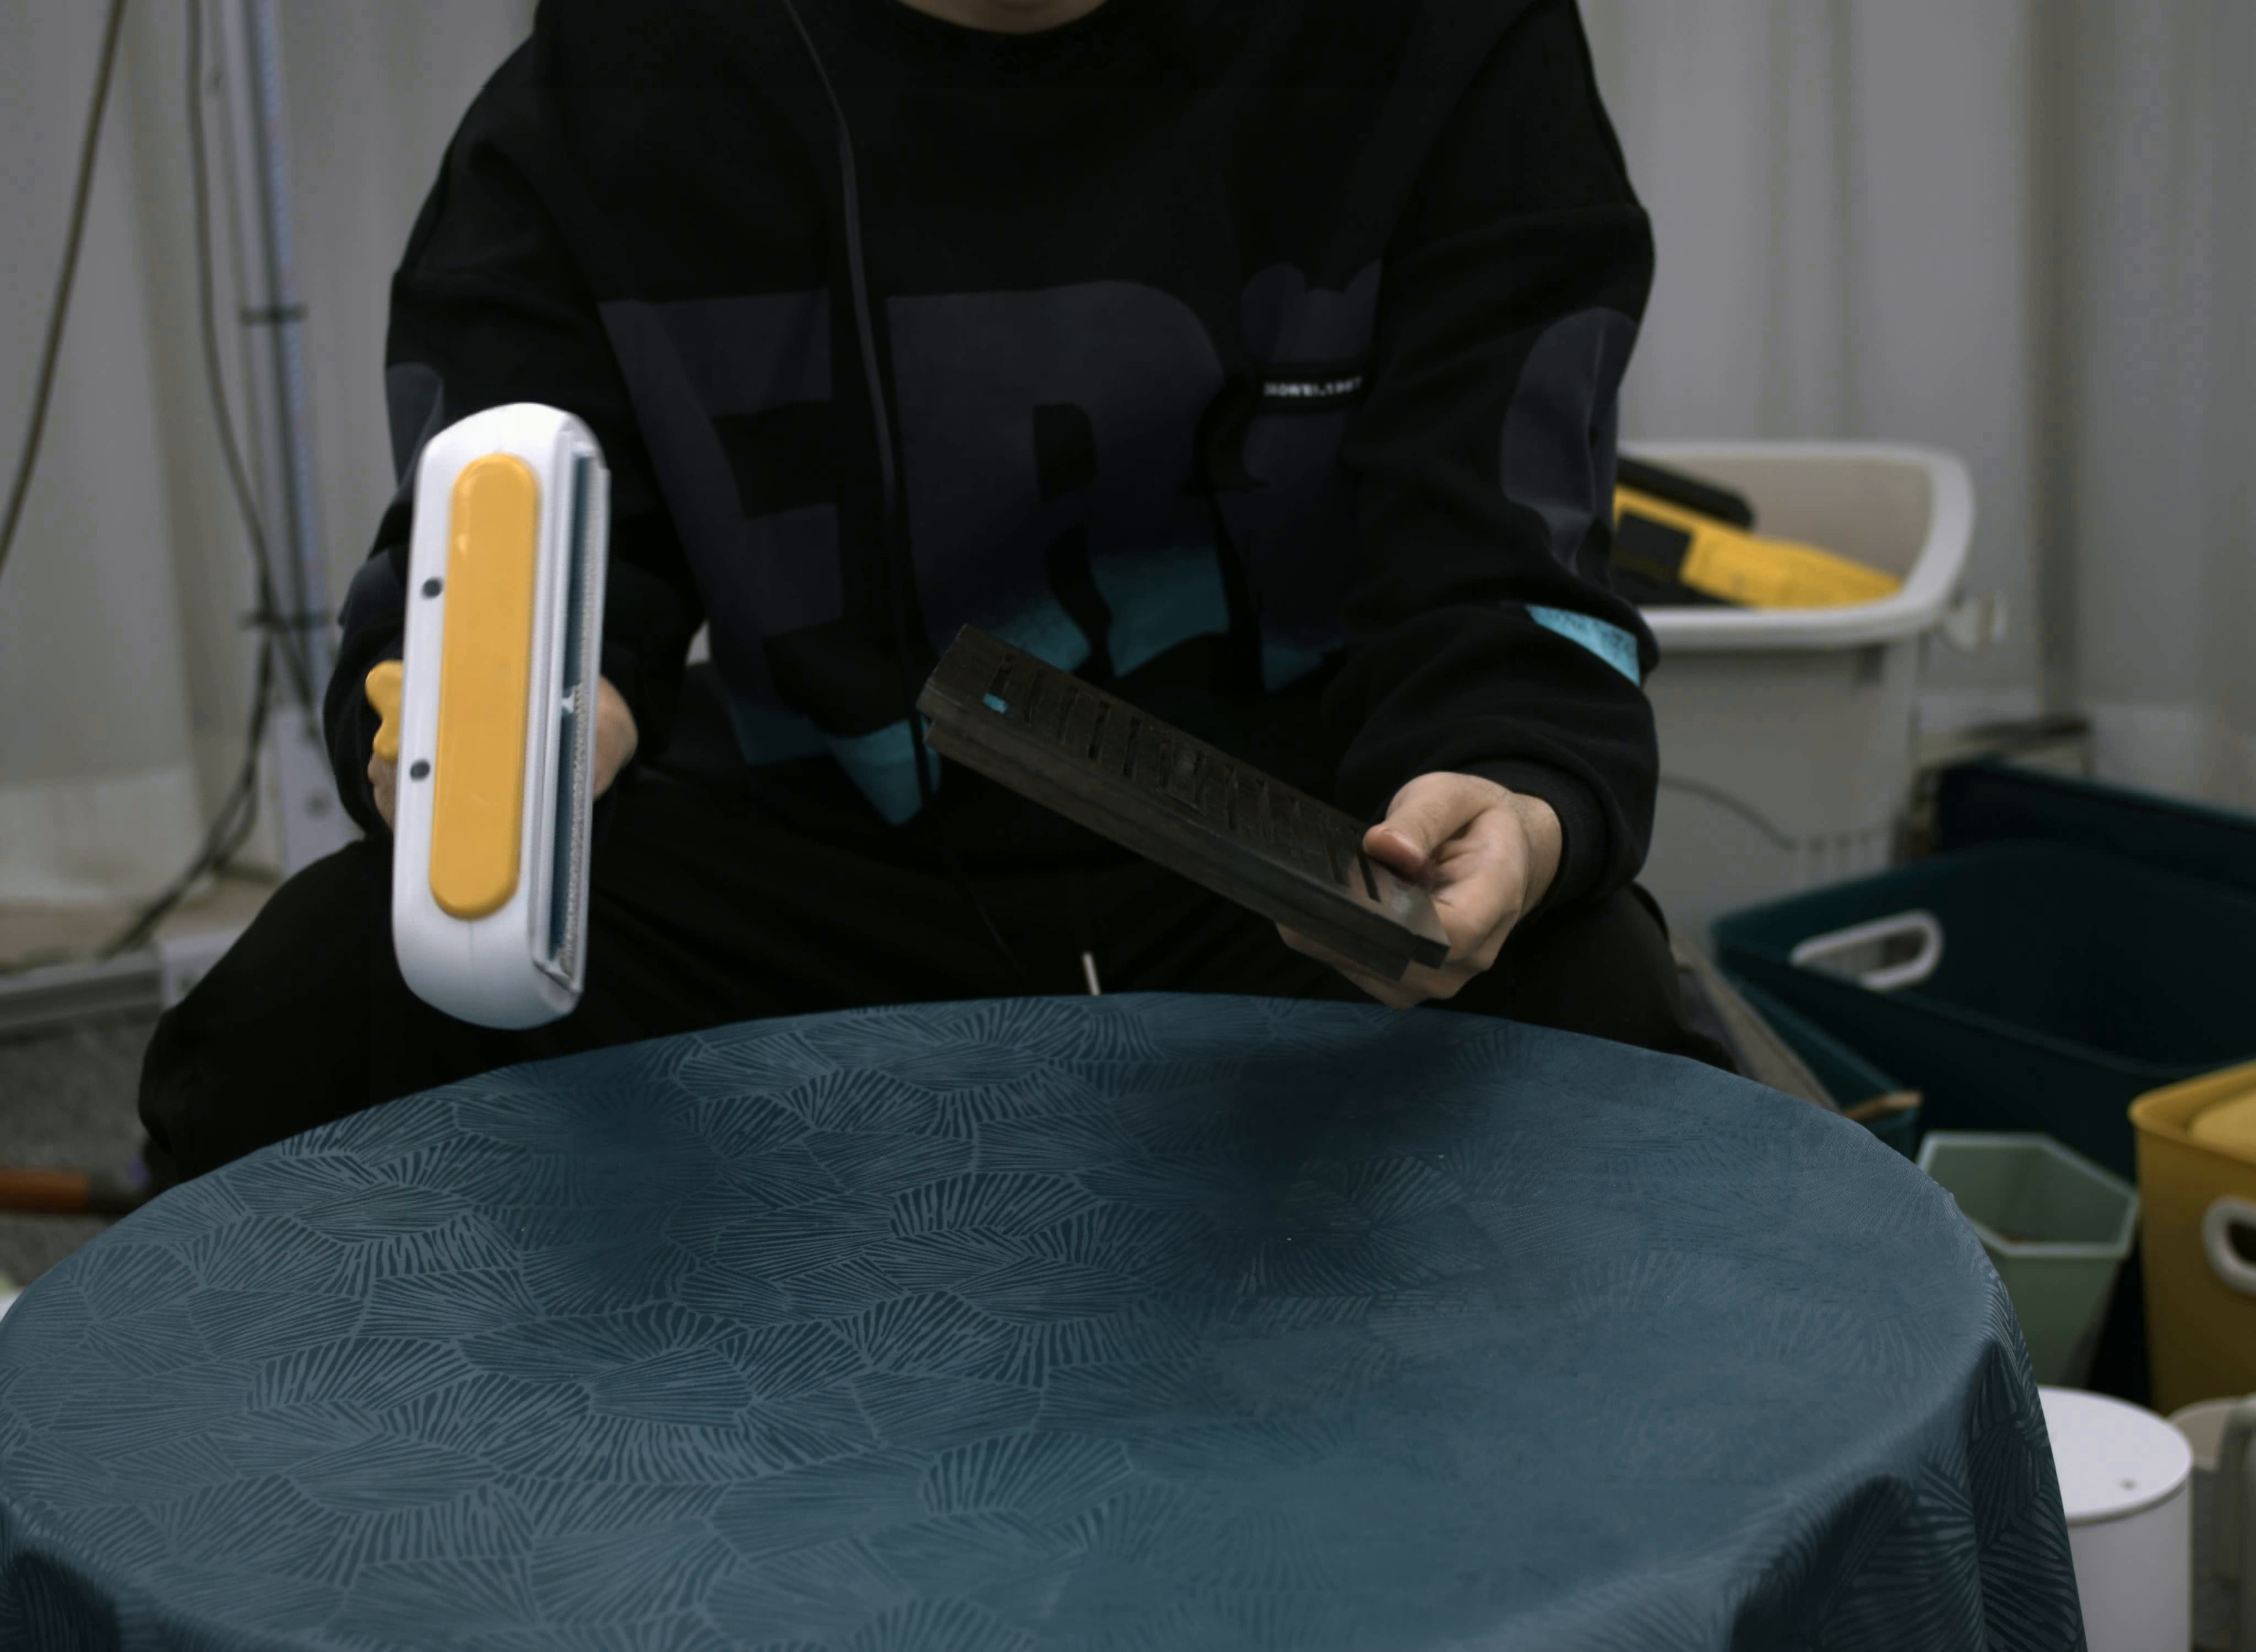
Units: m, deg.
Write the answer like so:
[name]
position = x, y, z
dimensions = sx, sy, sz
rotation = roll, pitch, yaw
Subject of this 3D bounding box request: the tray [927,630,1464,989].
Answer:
[tray]
position = 0.019, -0.008, 1.703
dimensions = 0.170, 0.018, 0.306
rotation = 27, 5, -2

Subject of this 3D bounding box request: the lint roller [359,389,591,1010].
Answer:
[lint roller]
position = -0.195, -0.019, 1.726
dimensions = 0.074, 0.195, 0.190
rotation = -6, -20, 1
